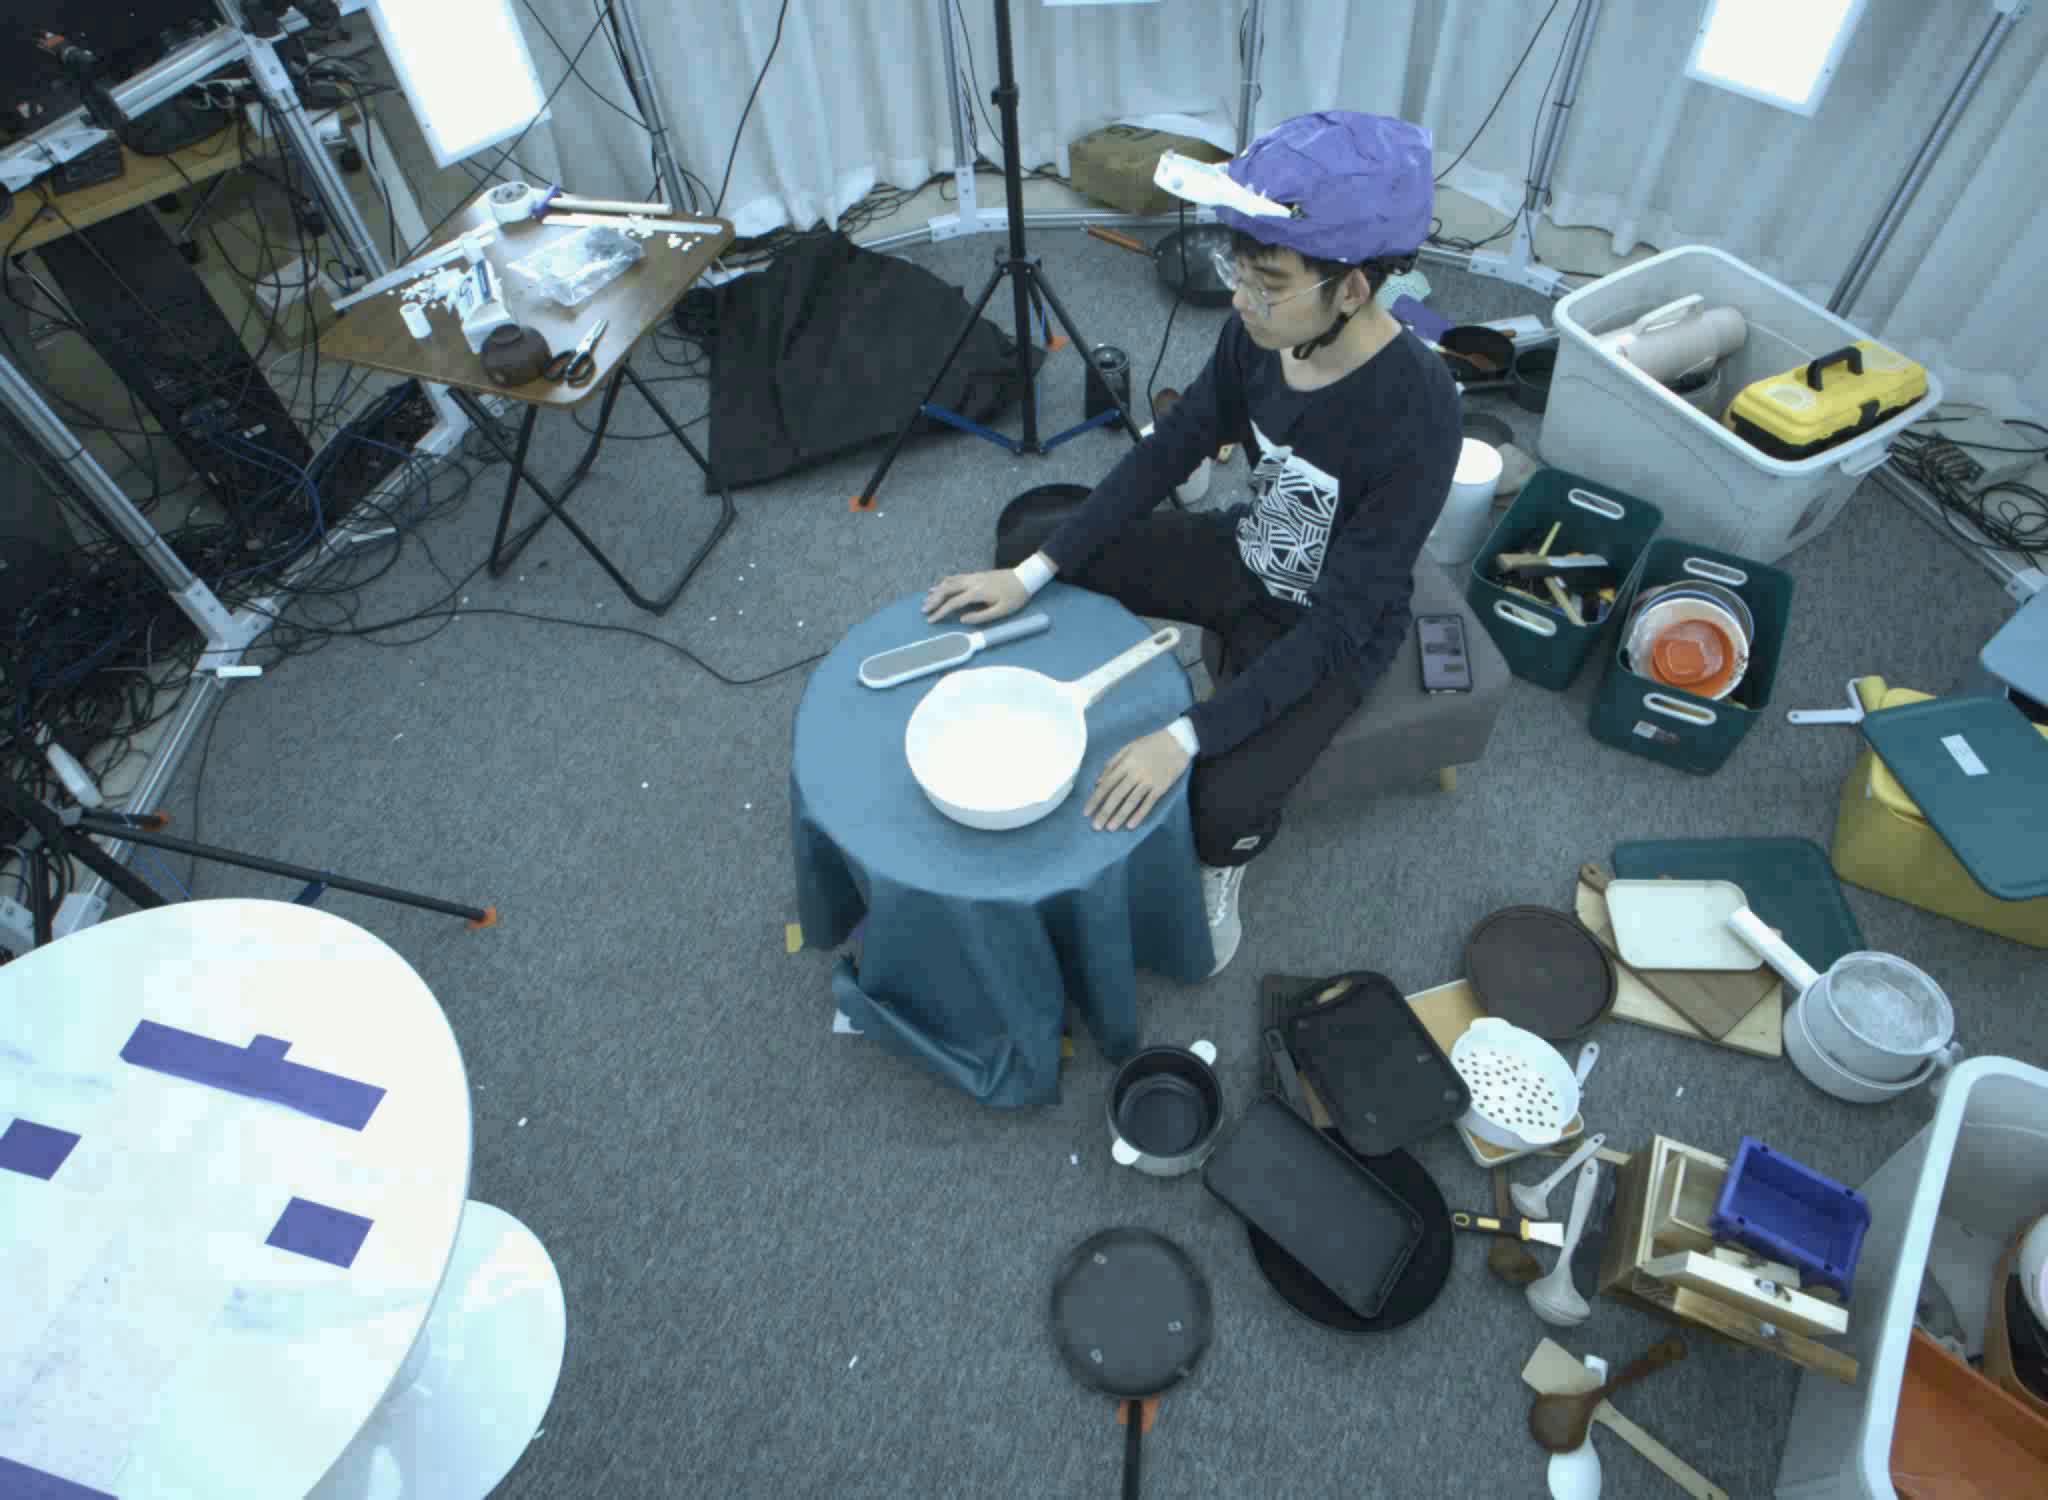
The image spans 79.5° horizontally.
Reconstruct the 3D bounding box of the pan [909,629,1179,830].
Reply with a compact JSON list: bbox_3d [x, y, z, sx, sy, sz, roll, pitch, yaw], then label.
[{"bbox_3d":[0.044,-0.041,1.763,0.438,0.103,0.258,-28,56,-18],"label":"pan"}]

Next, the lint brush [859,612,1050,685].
[{"bbox_3d":[-0.106,-0.160,1.895,0.311,0.021,0.059,-18,51,-11],"label":"lint brush"}]
